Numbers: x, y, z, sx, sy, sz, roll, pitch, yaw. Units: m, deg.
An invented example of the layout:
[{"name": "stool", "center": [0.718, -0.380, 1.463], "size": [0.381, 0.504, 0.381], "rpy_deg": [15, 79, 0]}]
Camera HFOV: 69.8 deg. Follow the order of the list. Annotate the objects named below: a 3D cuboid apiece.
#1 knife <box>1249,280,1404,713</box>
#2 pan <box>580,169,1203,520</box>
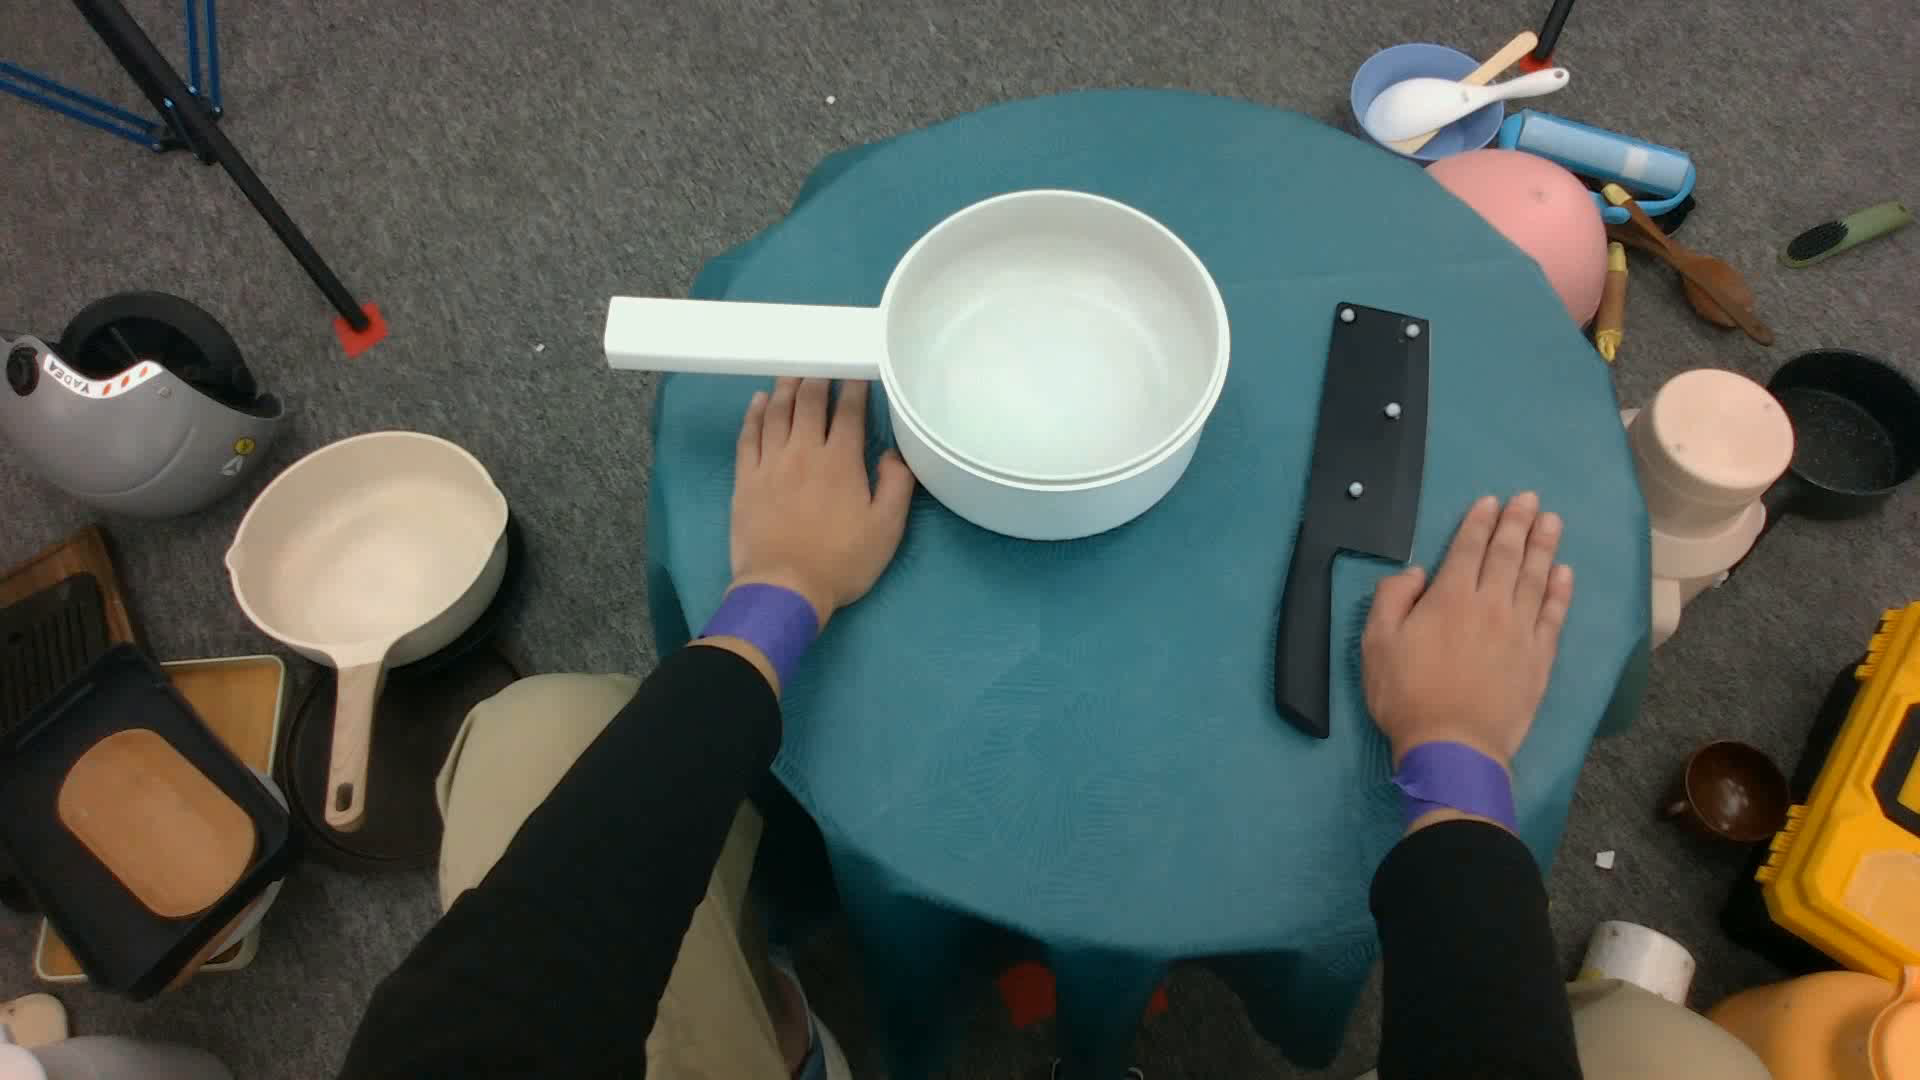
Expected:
[{"name": "knife", "center": [0.224, -0.036, 0.835], "size": [0.081, 0.021, 0.303], "rpy_deg": [17, 64, 6]}, {"name": "pan", "center": [-0.039, -0.113, 0.823], "size": [0.355, 0.102, 0.202], "rpy_deg": [1, 66, 1]}]
